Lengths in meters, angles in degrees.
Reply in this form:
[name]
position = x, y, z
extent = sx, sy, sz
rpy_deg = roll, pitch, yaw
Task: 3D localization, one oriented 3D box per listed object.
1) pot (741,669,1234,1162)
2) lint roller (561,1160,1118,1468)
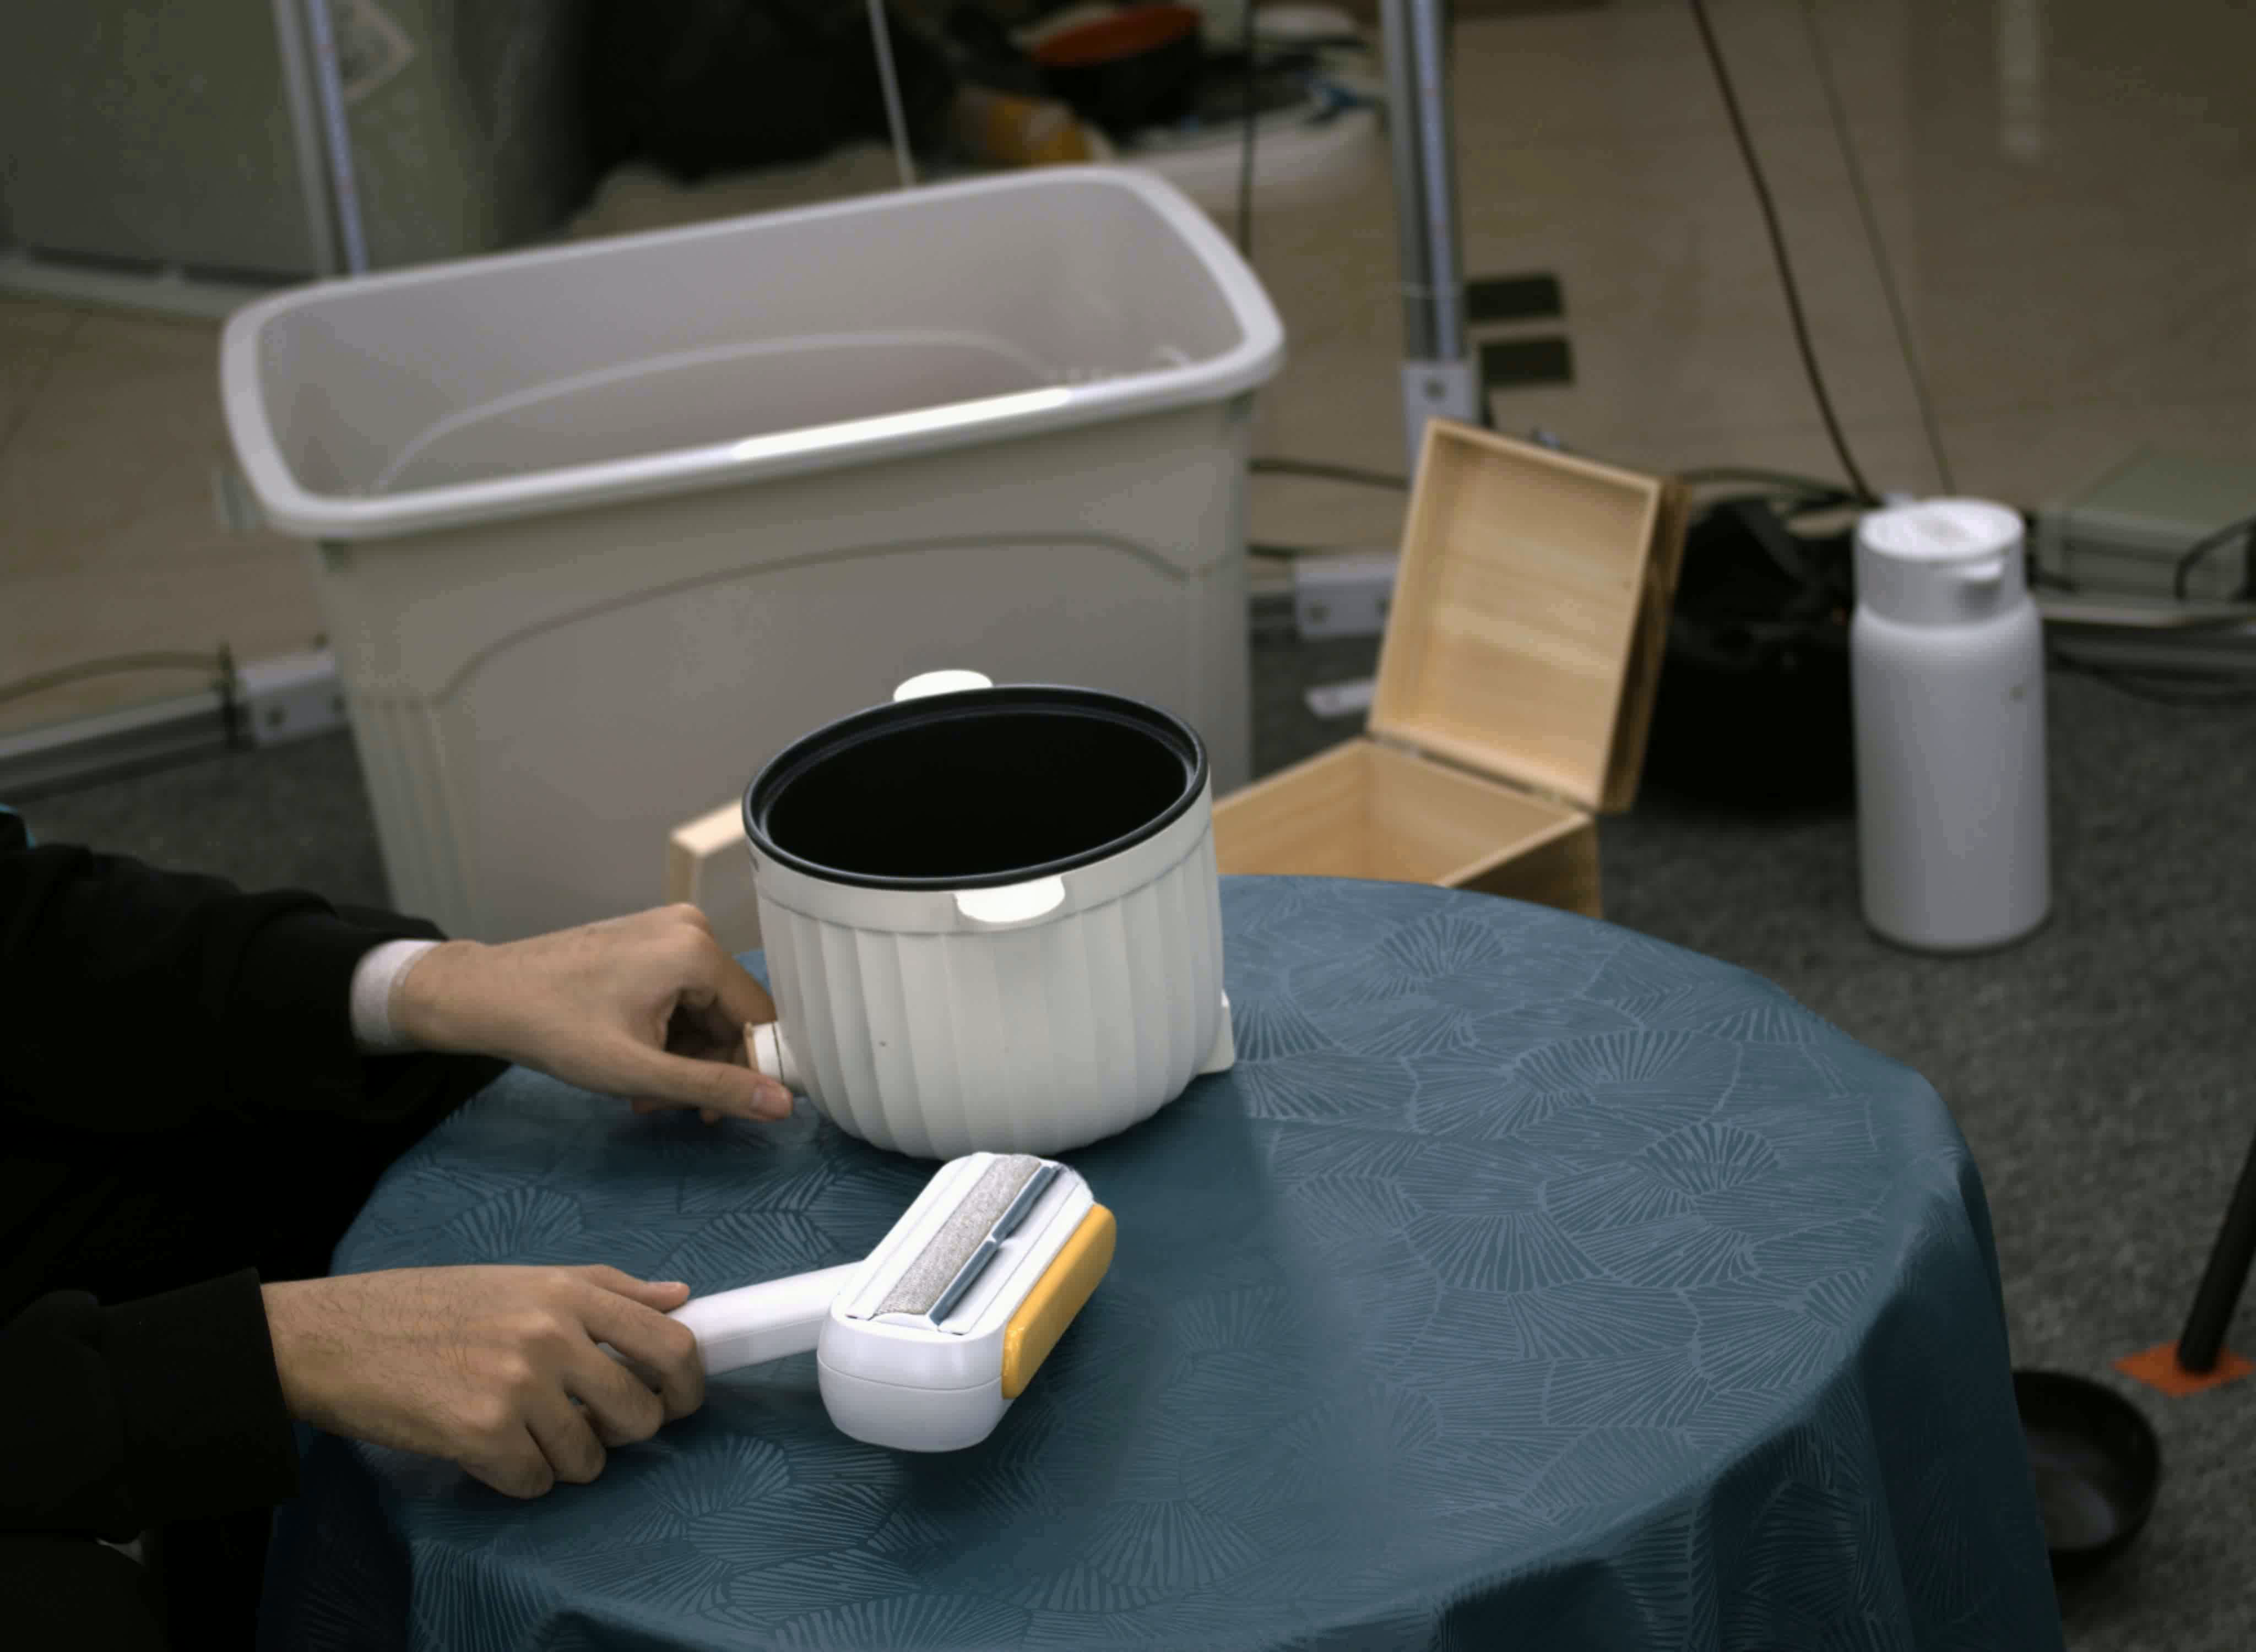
[pot]
position = -0.058, 0.043, 2.196
extent = 0.190, 0.145, 0.237
rpy_deg = -7, 24, -7
[lint roller]
position = -0.114, 0.175, 2.014
extent = 0.192, 0.075, 0.190
rpy_deg = 0, 21, 18
